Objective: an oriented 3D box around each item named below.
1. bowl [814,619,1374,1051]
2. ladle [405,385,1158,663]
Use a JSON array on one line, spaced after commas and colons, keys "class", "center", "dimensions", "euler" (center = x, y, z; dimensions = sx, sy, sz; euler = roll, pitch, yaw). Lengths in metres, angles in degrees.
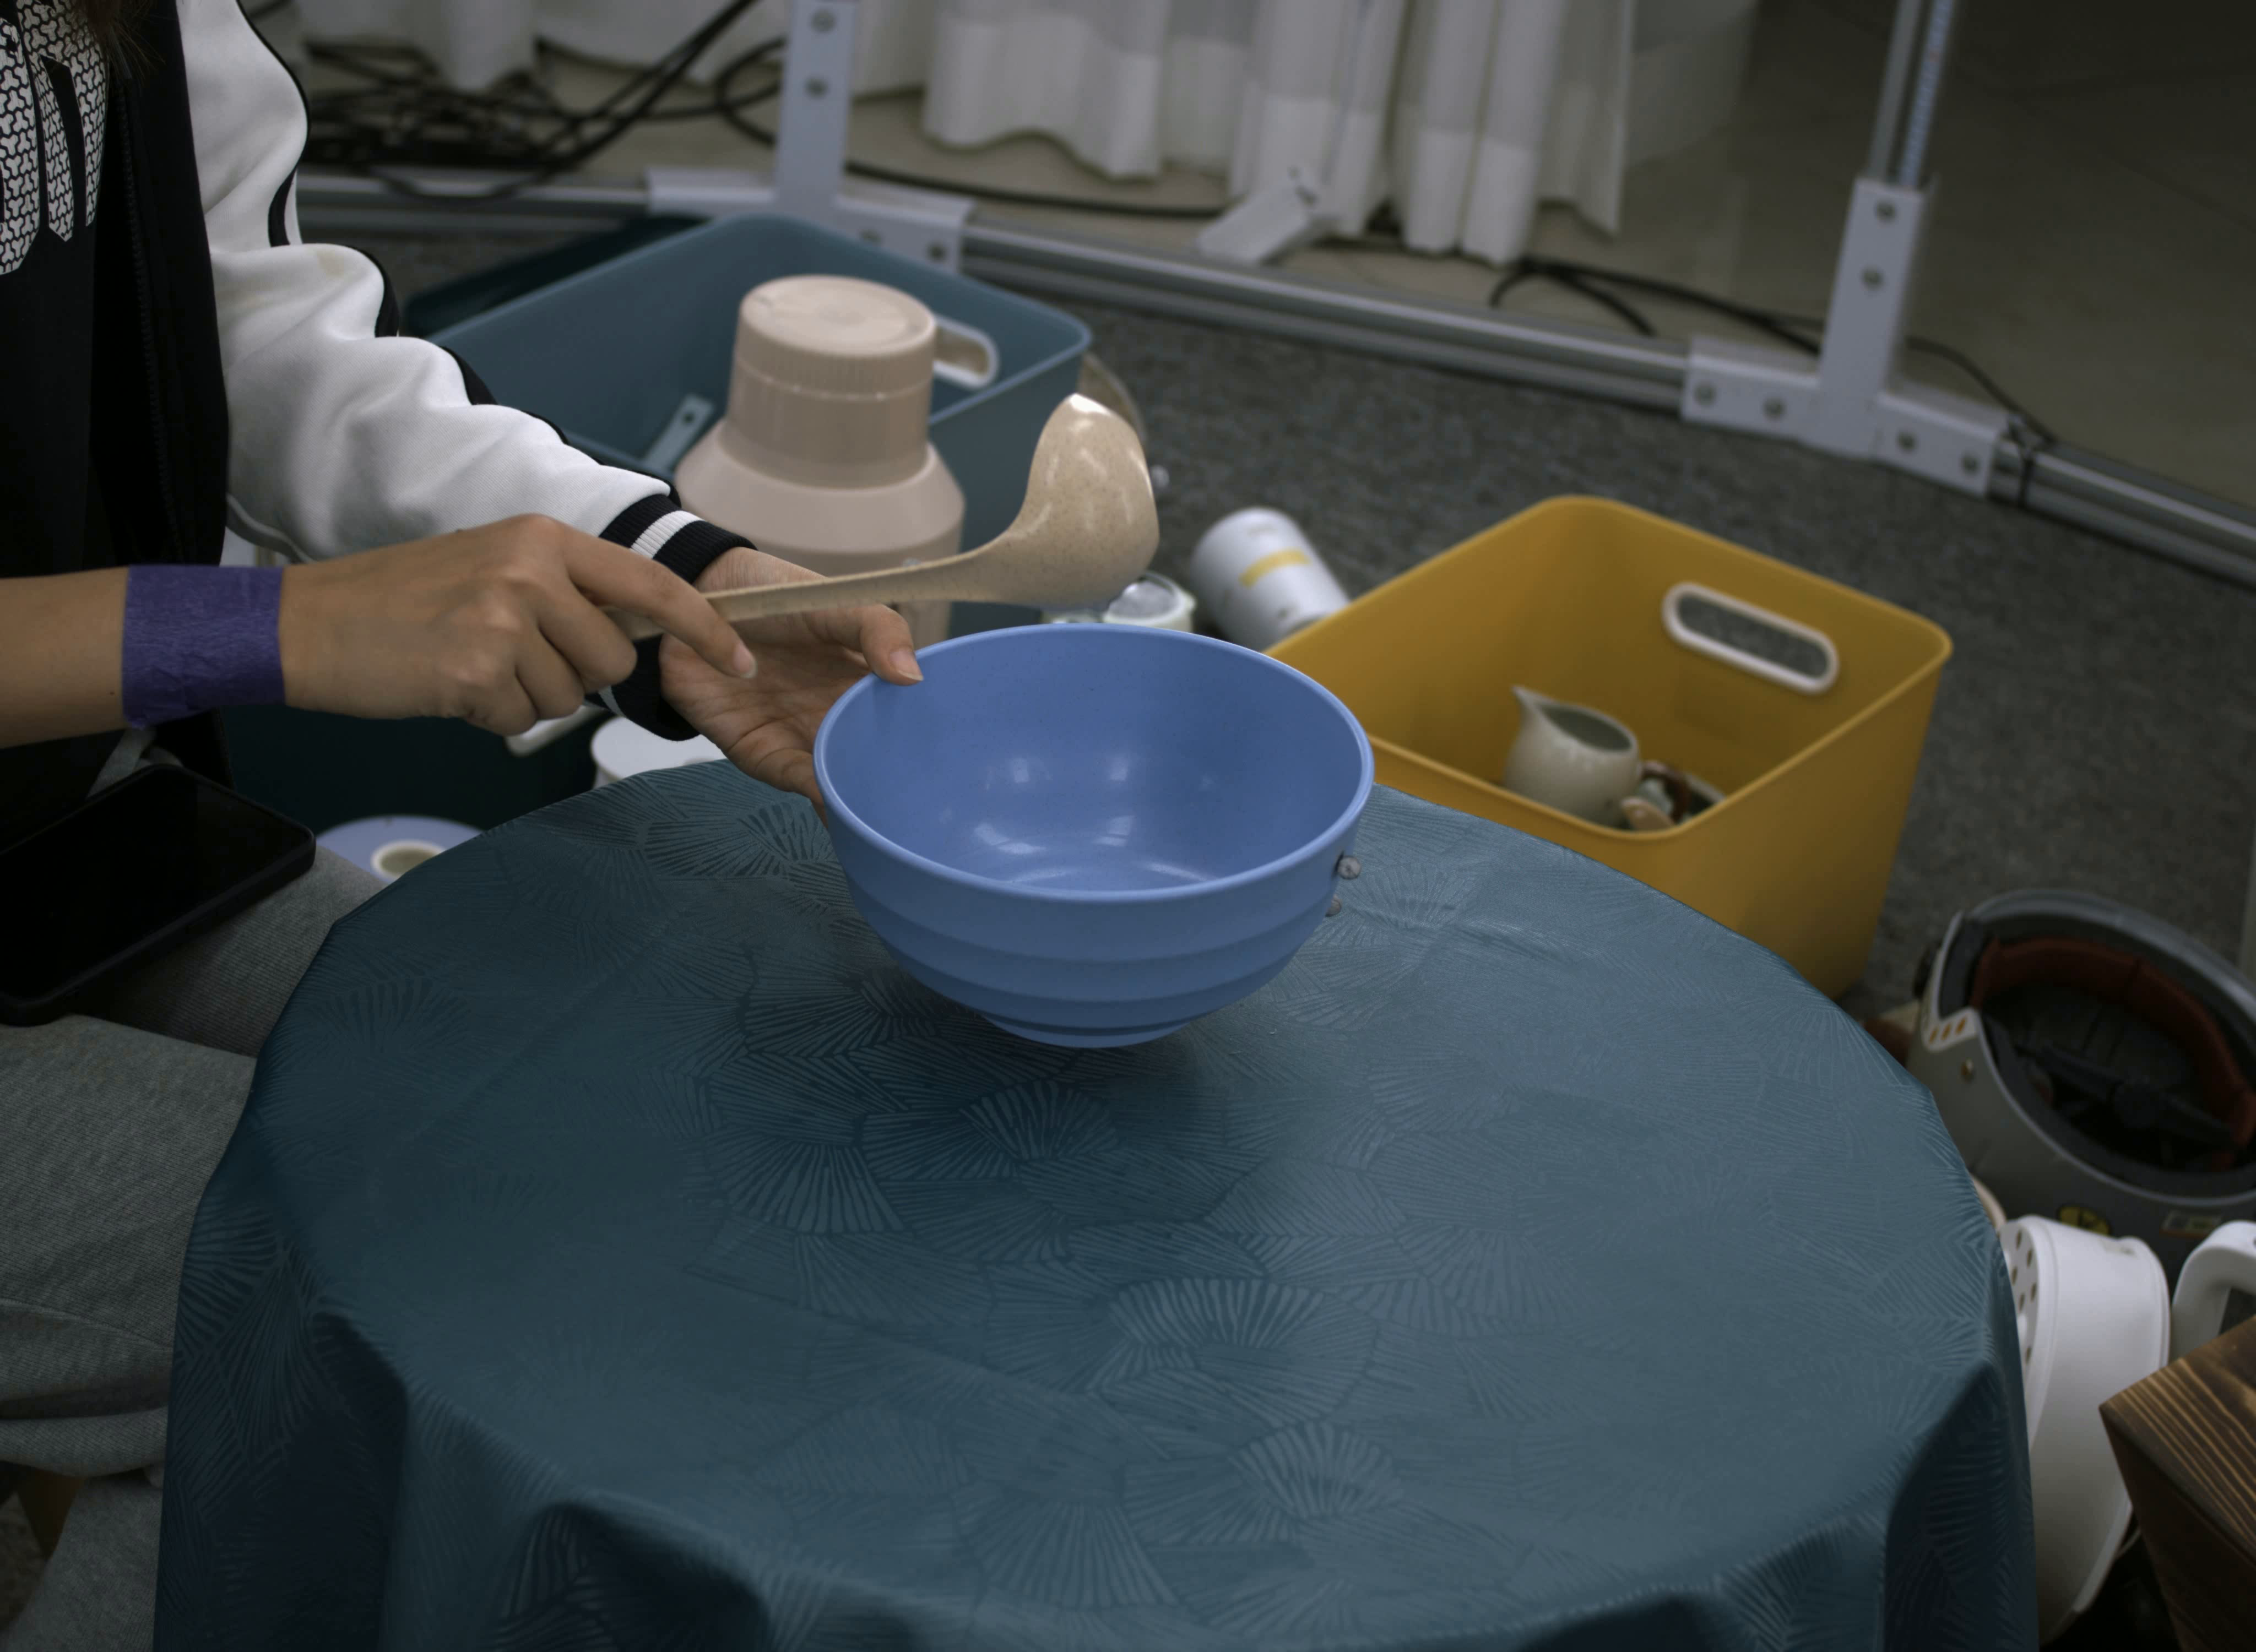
[{"class": "bowl", "center": [-0.013, 0.016, 1.882], "dimensions": [0.196, 0.095, 0.198], "euler": [0, 31, -1]}, {"class": "ladle", "center": [-0.117, -0.098, 1.790], "dimensions": [0.254, 0.071, 0.073], "euler": [-8, 40, 0]}]
